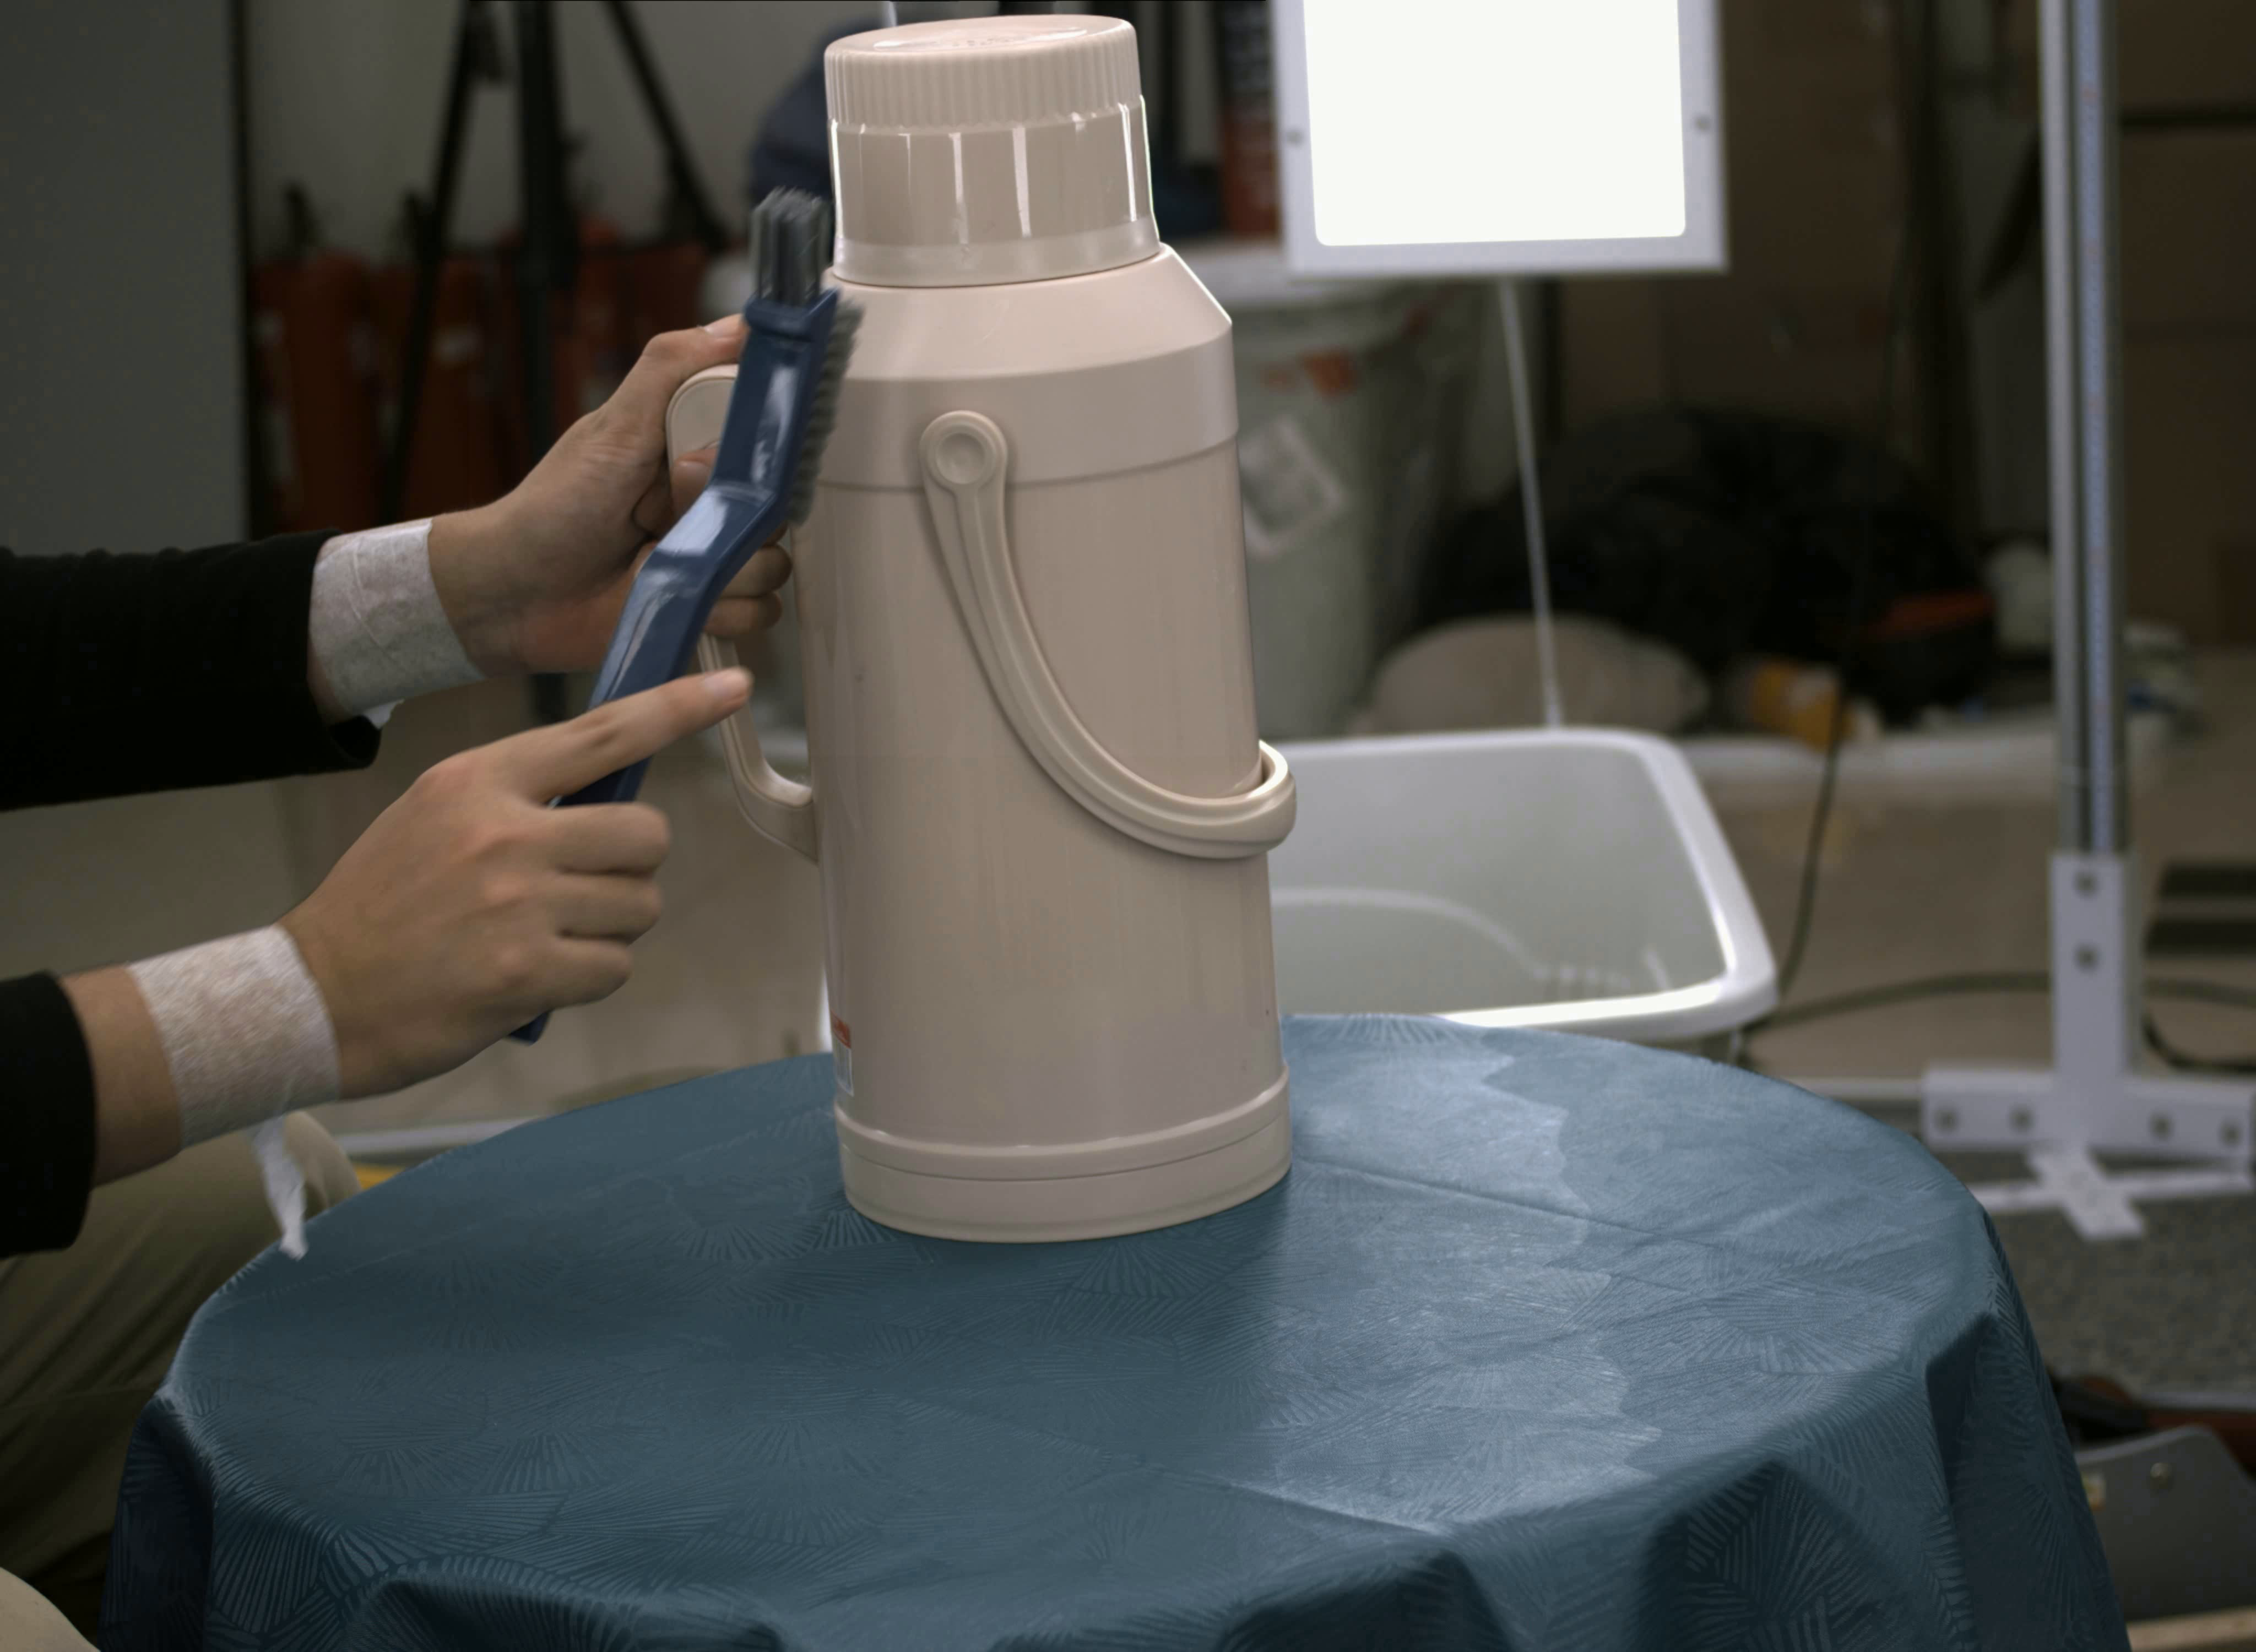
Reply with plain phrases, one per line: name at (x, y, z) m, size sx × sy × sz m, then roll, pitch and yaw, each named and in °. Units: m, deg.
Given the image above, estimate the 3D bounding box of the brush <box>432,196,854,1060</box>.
brush at (-0.153, -0.061, 1.713) m, size 0.034 × 0.271 × 0.095 m, roll 17°, pitch -21°, yaw 25°

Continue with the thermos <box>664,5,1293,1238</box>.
thermos at (-0.050, -0.071, 1.886) m, size 0.208 × 0.408 × 0.173 m, roll -2°, pitch 16°, yaw 10°
